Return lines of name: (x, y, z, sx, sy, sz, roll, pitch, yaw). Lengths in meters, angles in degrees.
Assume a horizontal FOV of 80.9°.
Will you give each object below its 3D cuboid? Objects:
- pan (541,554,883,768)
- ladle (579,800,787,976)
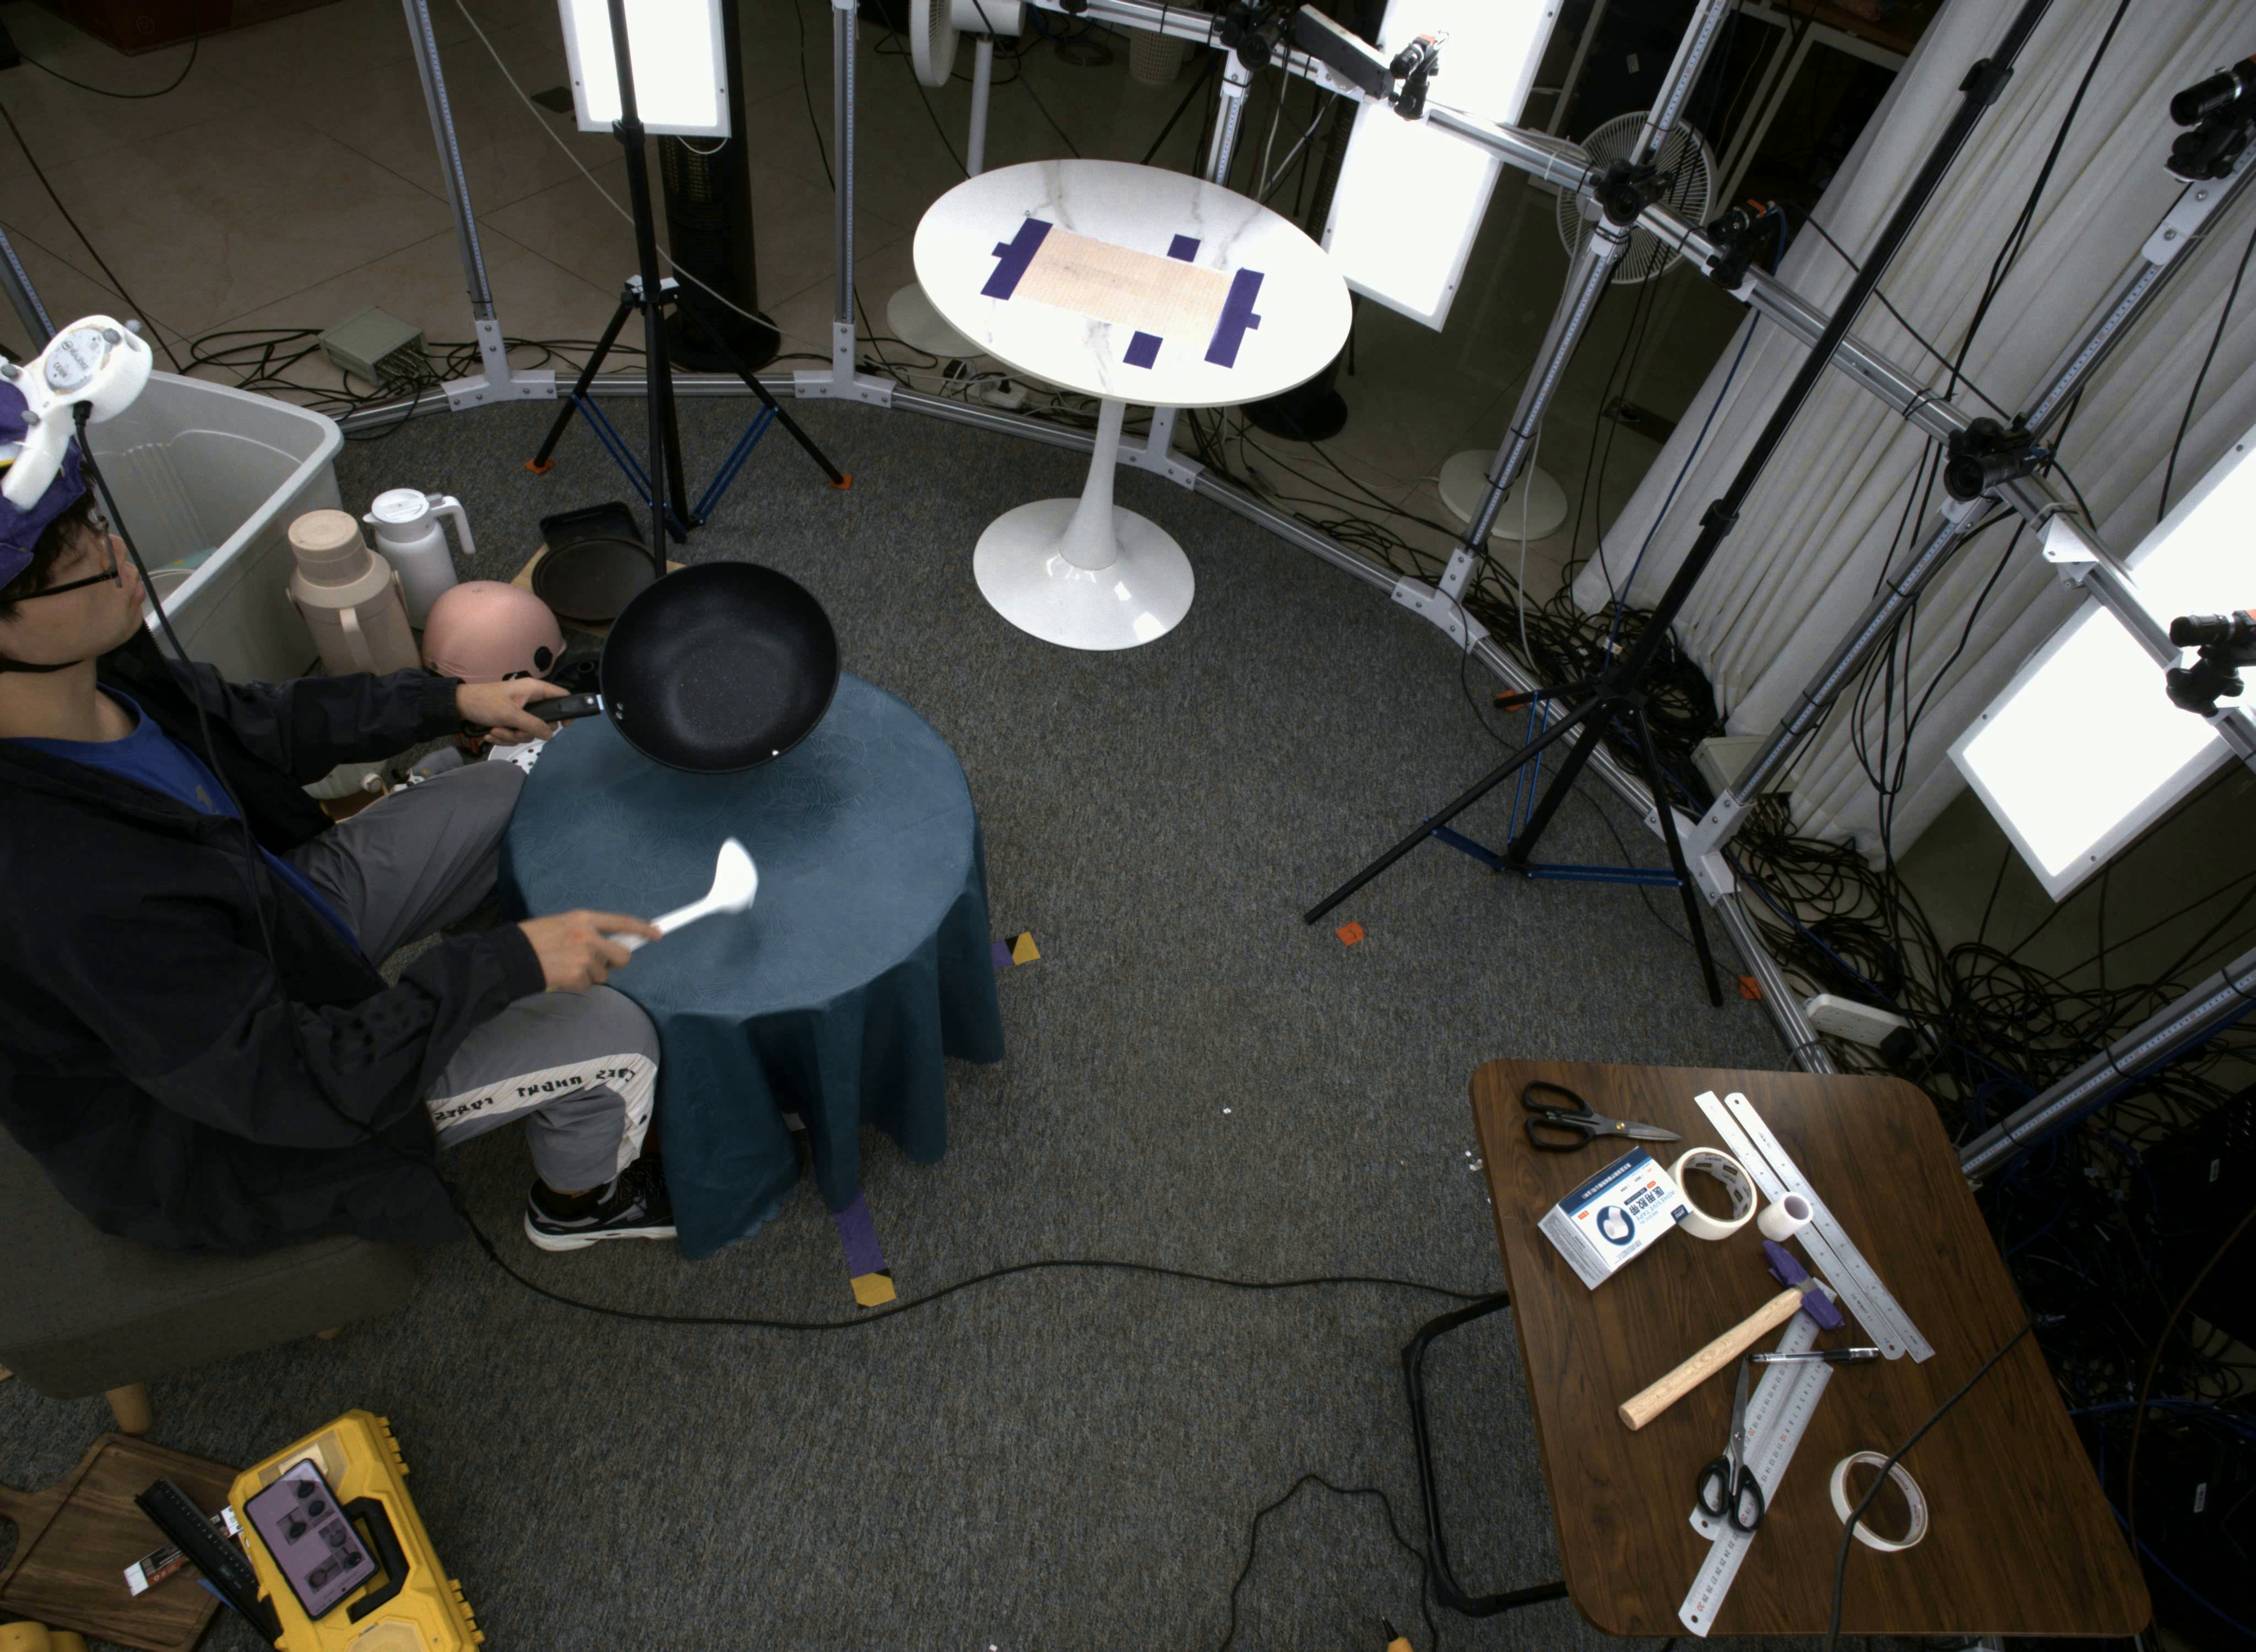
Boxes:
pan: (-0.555, -0.186, 1.691, 0.476, 0.113, 0.307, -17, 73, -13)
ladle: (-0.521, 0.071, 1.506, 0.293, 0.093, 0.067, -34, 55, -29)
